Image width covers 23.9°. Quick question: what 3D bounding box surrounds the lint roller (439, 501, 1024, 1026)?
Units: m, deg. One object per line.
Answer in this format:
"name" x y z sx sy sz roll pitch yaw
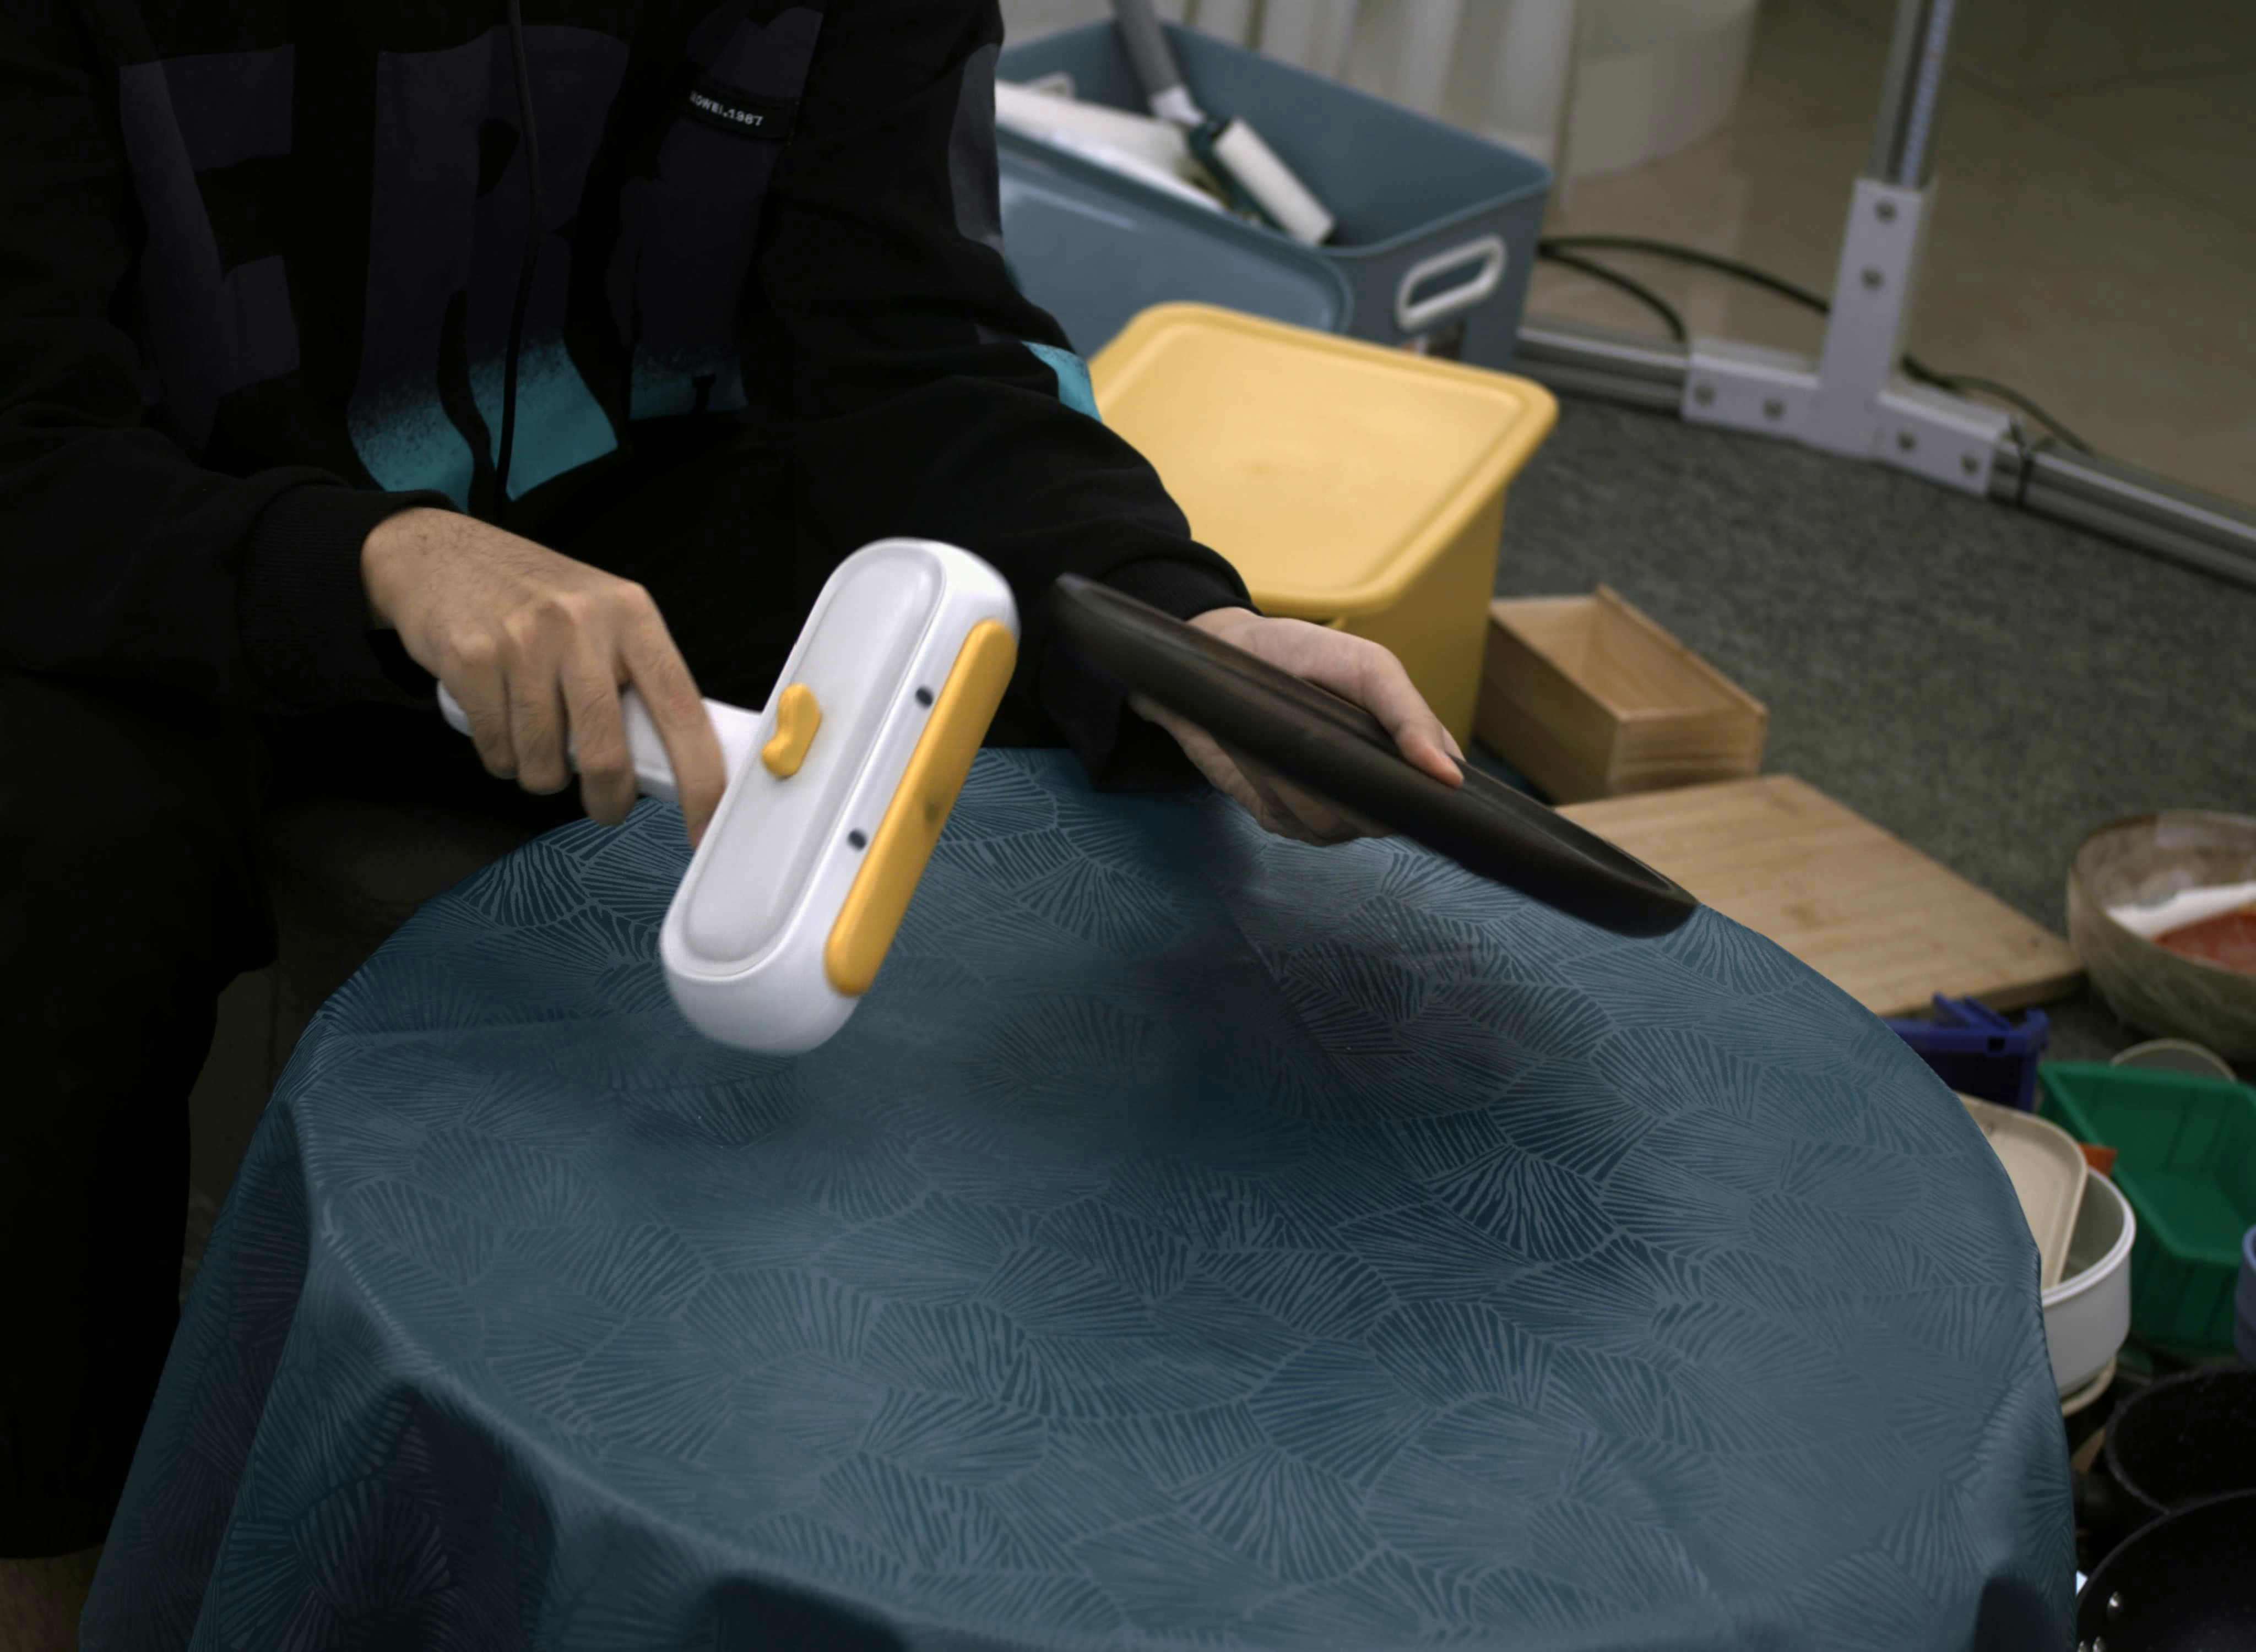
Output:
"lint roller" -0.147 -0.031 1.838 0.193 0.073 0.194 6 68 28

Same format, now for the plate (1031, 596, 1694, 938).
"plate" 0.080 -0.021 1.862 0.254 0.029 0.255 25 4 -2
